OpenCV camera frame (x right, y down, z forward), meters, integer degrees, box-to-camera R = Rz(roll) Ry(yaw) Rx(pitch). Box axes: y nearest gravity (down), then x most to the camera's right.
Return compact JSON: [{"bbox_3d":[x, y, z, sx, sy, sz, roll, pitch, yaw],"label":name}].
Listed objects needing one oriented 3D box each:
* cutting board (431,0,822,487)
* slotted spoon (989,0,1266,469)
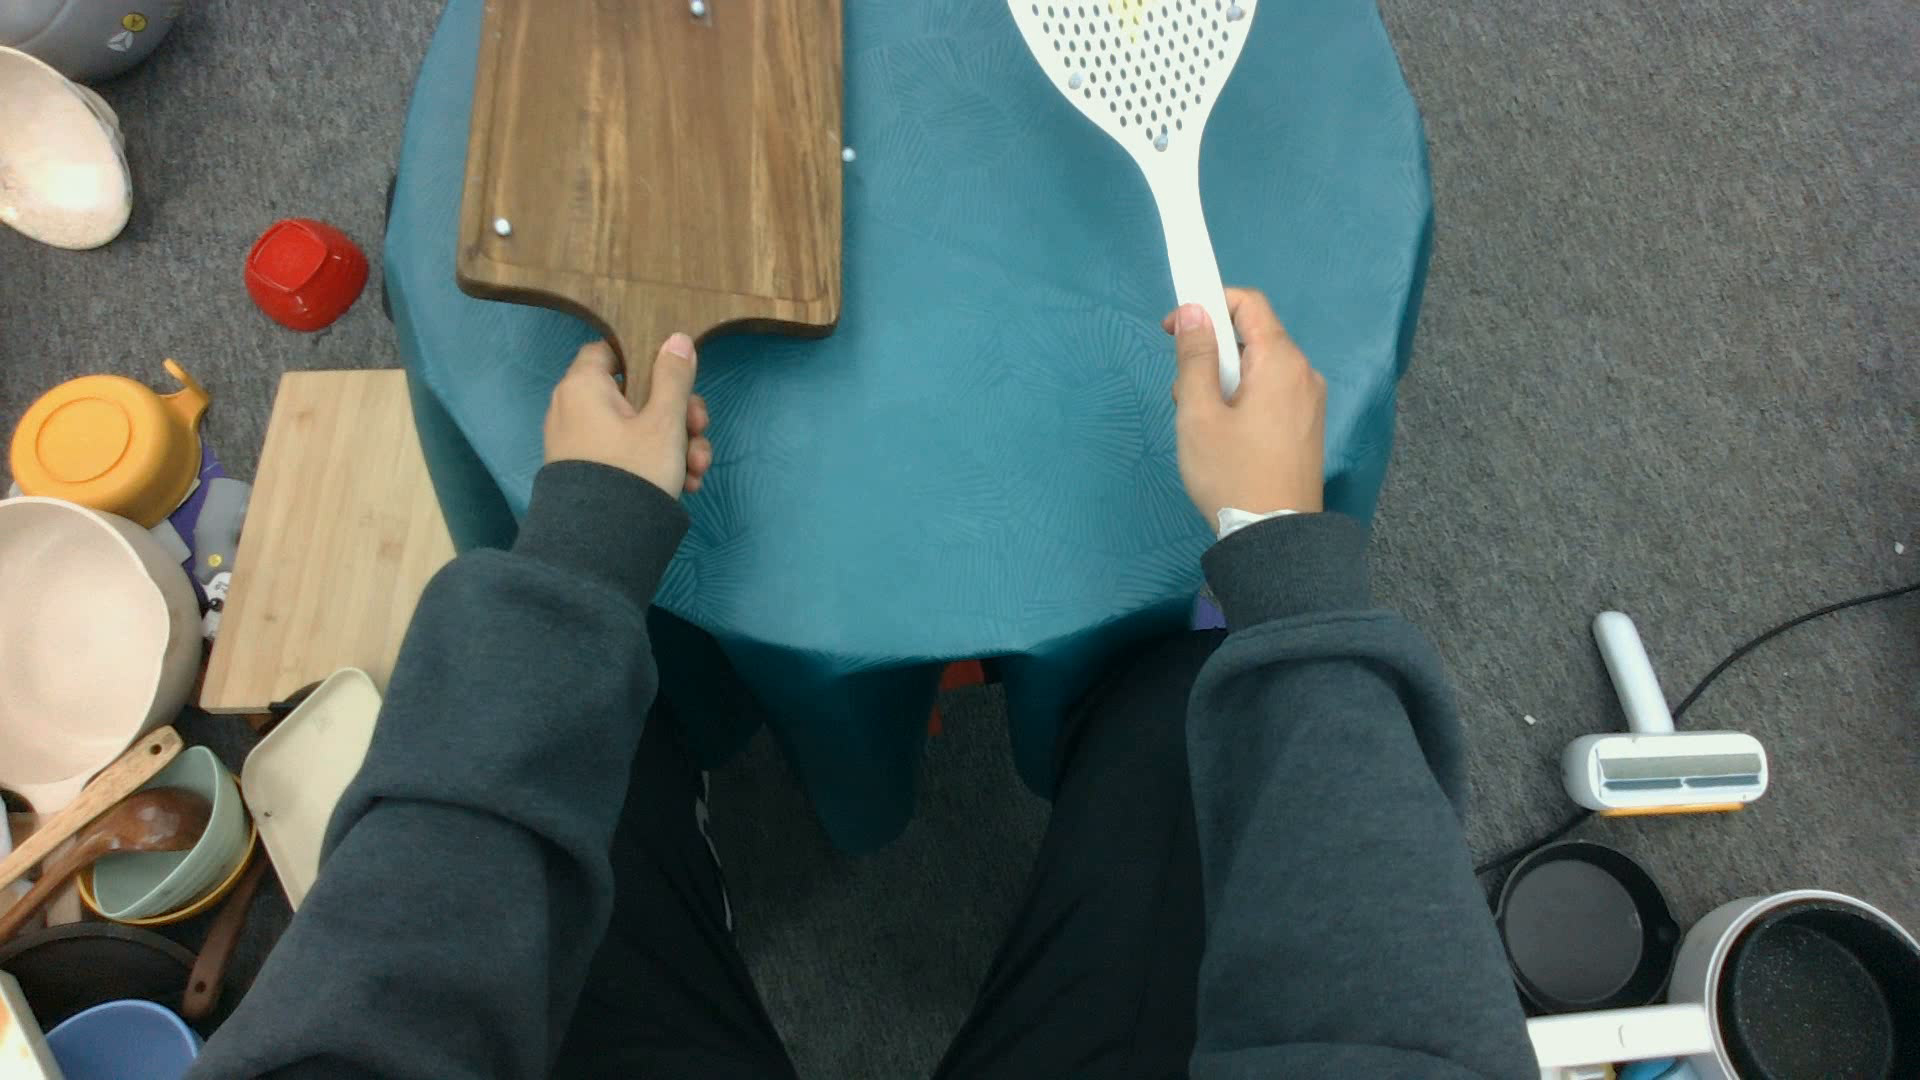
[{"bbox_3d":[-0.175,-0.196,0.737,0.201,0.023,0.353,3,70,-20],"label":"cutting board"},{"bbox_3d":[0.099,-0.204,0.696,0.136,0.050,0.348,-14,77,12],"label":"slotted spoon"}]
